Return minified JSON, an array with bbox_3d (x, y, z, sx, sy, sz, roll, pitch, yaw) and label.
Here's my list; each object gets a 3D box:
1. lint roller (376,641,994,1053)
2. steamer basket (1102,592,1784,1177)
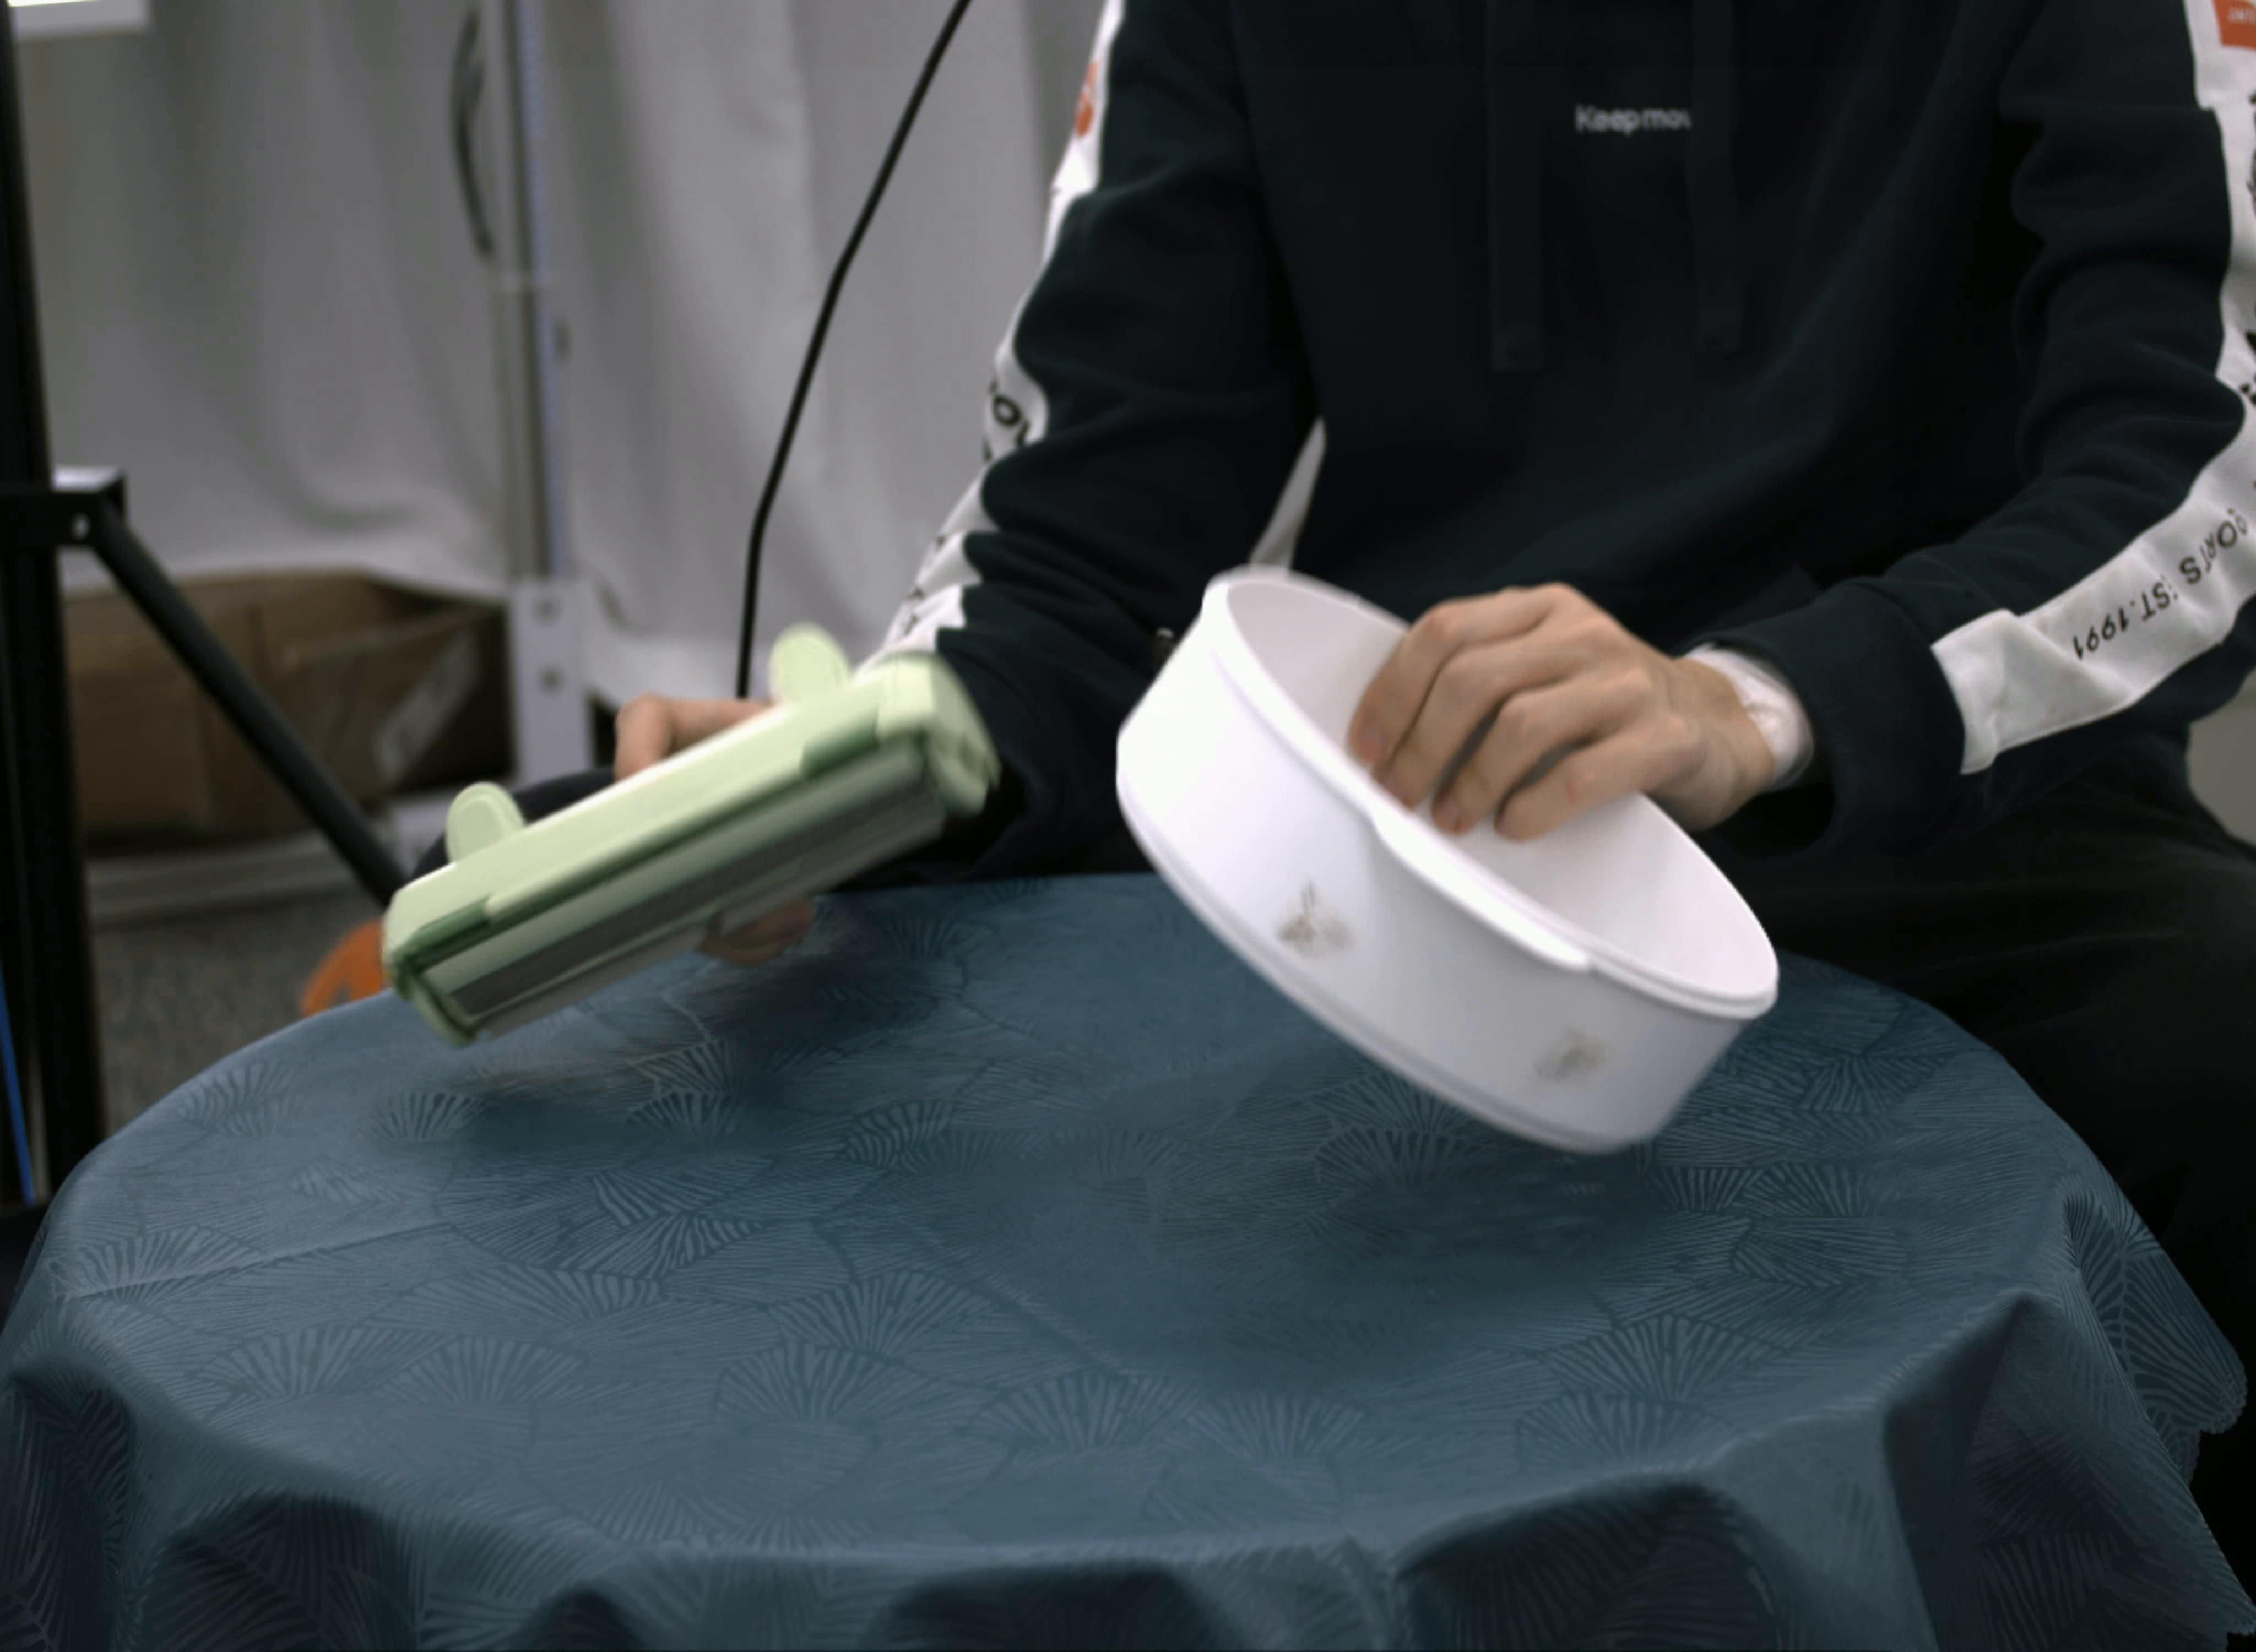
[{"bbox_3d":[-0.133,-0.004,1.713,0.199,0.082,0.182,-24,5,13],"label":"lint roller"},{"bbox_3d":[0.089,0.019,1.518,0.201,0.069,0.230,32,18,-5],"label":"steamer basket"}]
